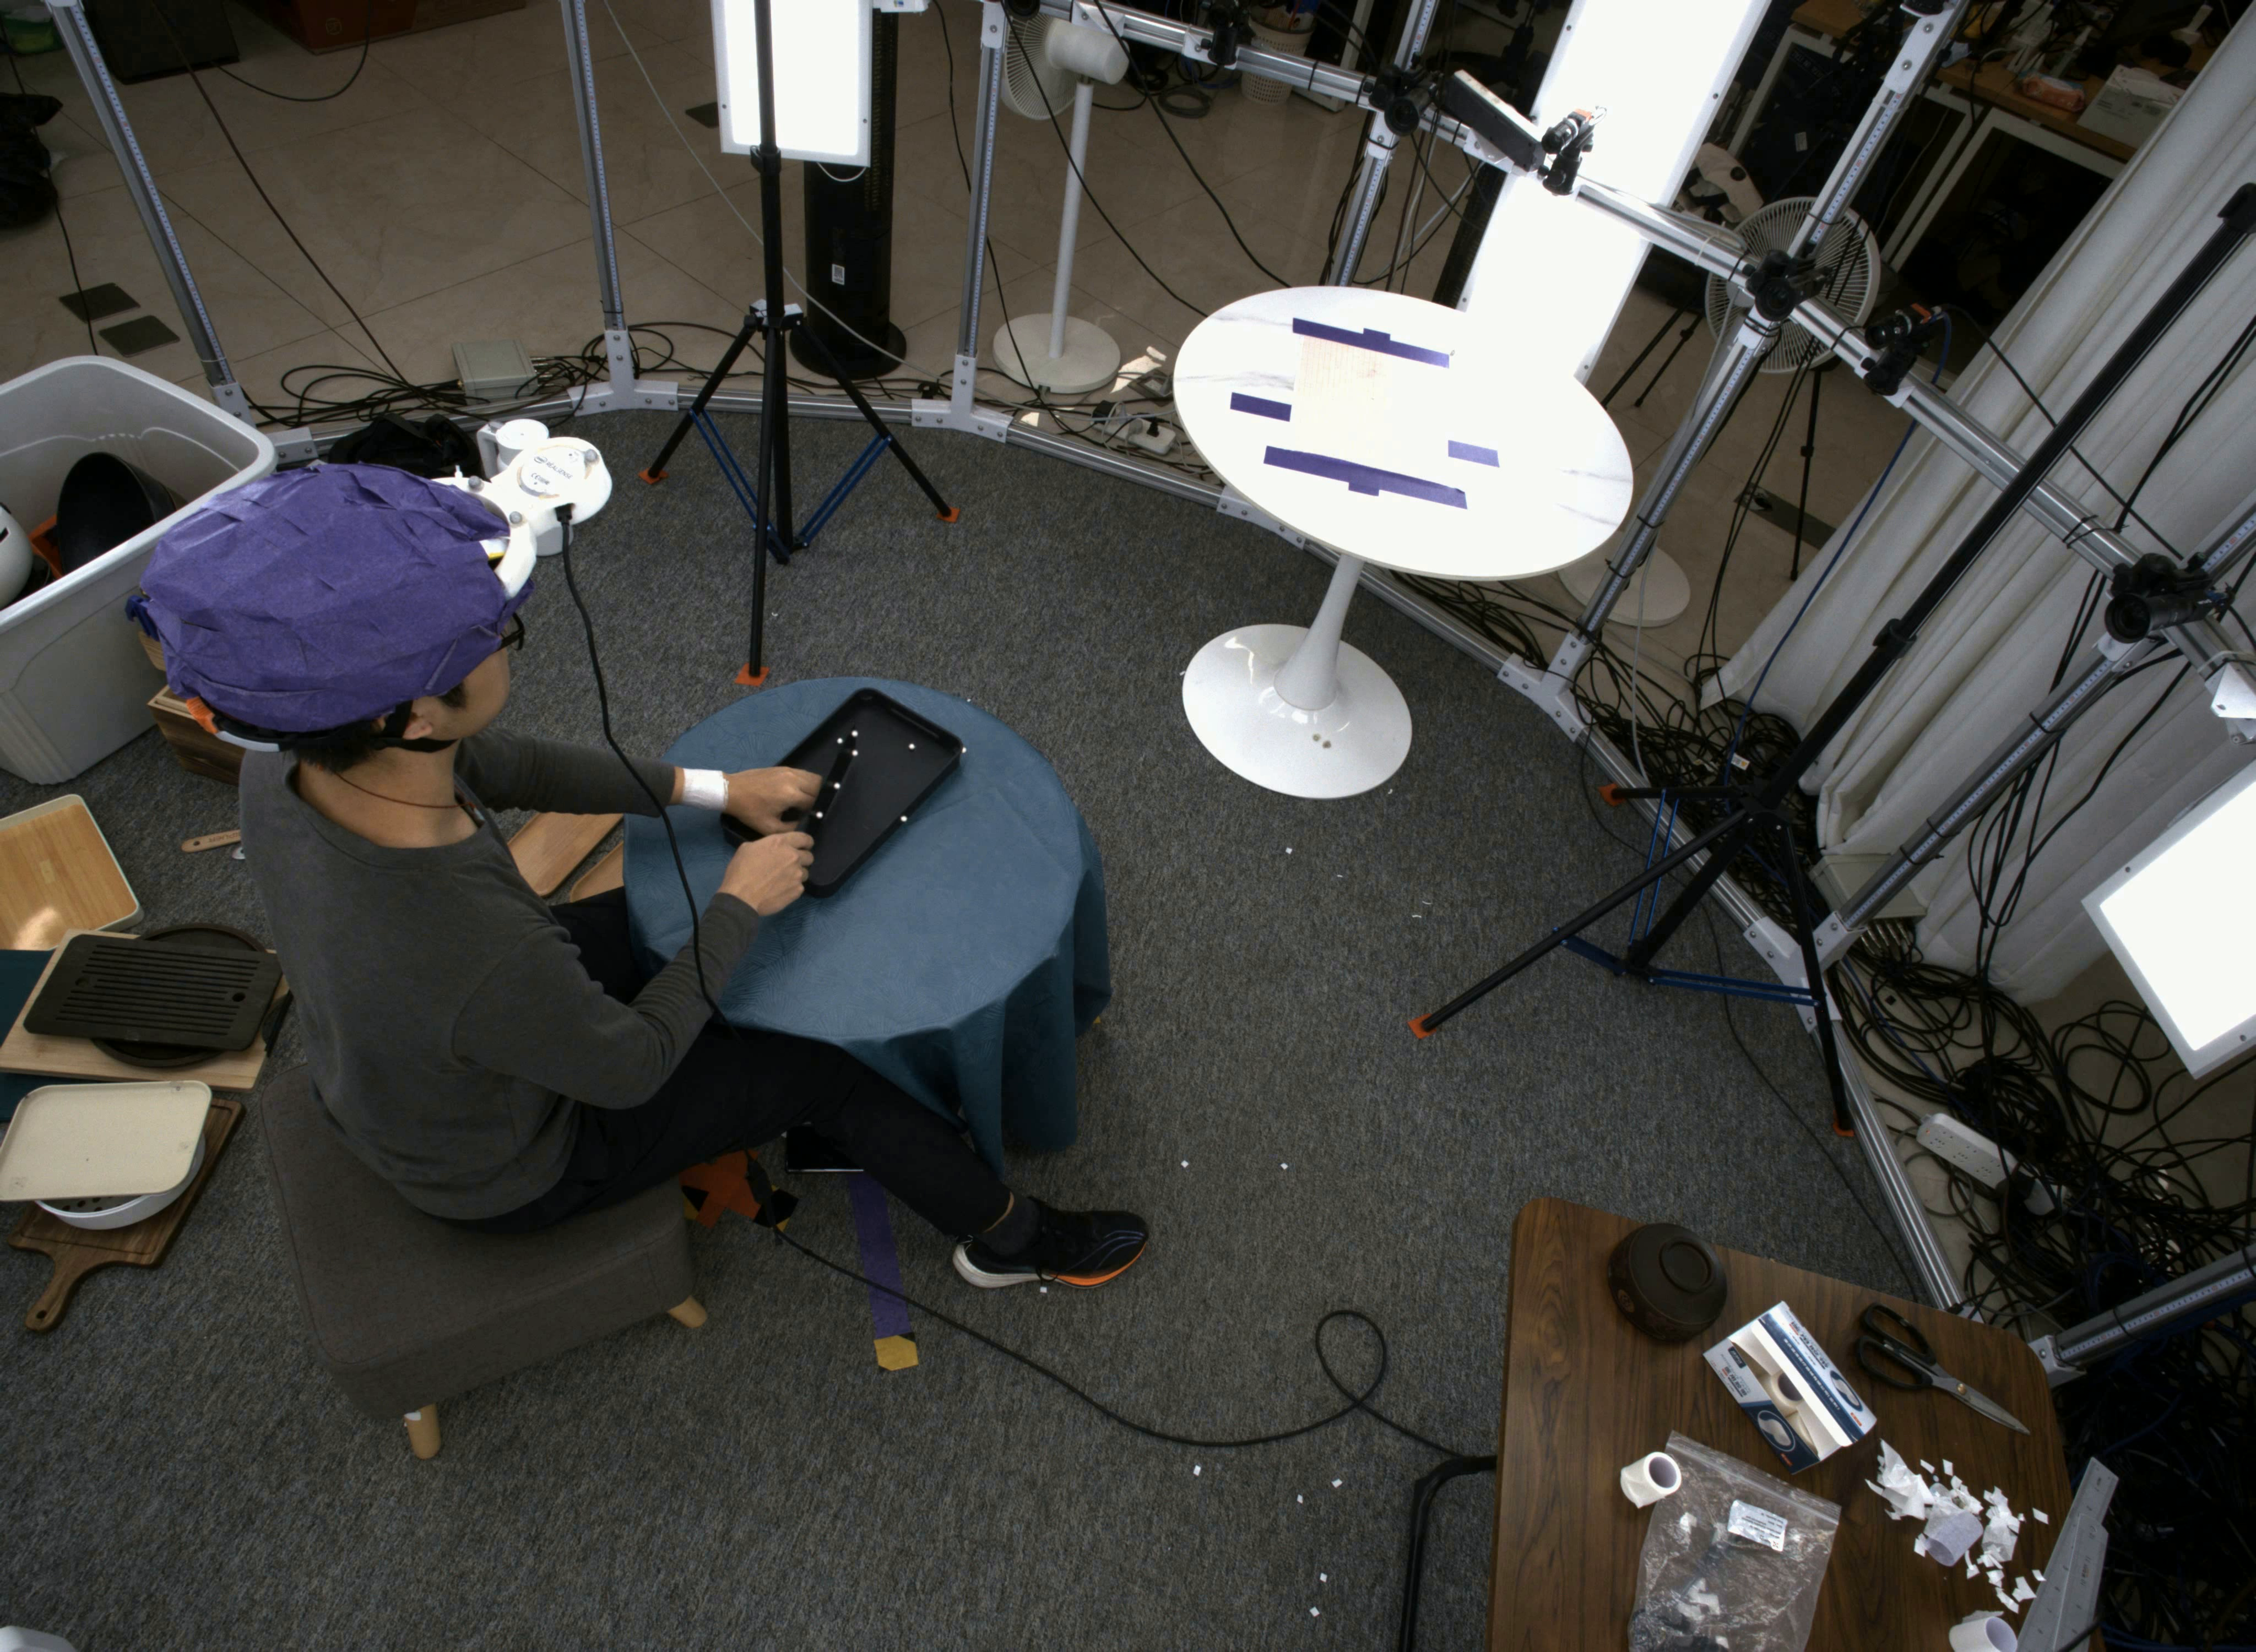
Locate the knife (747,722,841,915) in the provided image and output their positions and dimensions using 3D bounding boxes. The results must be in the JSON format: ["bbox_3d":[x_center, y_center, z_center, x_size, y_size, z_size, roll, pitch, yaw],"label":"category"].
[{"bbox_3d":[-0.426,-0.011,1.676,0.020,0.083,0.298,14,49,3],"label":"knife"}]

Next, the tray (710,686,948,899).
[{"bbox_3d":[-0.399,-0.053,1.757,0.181,0.038,0.316,29,52,8],"label":"tray"}]
